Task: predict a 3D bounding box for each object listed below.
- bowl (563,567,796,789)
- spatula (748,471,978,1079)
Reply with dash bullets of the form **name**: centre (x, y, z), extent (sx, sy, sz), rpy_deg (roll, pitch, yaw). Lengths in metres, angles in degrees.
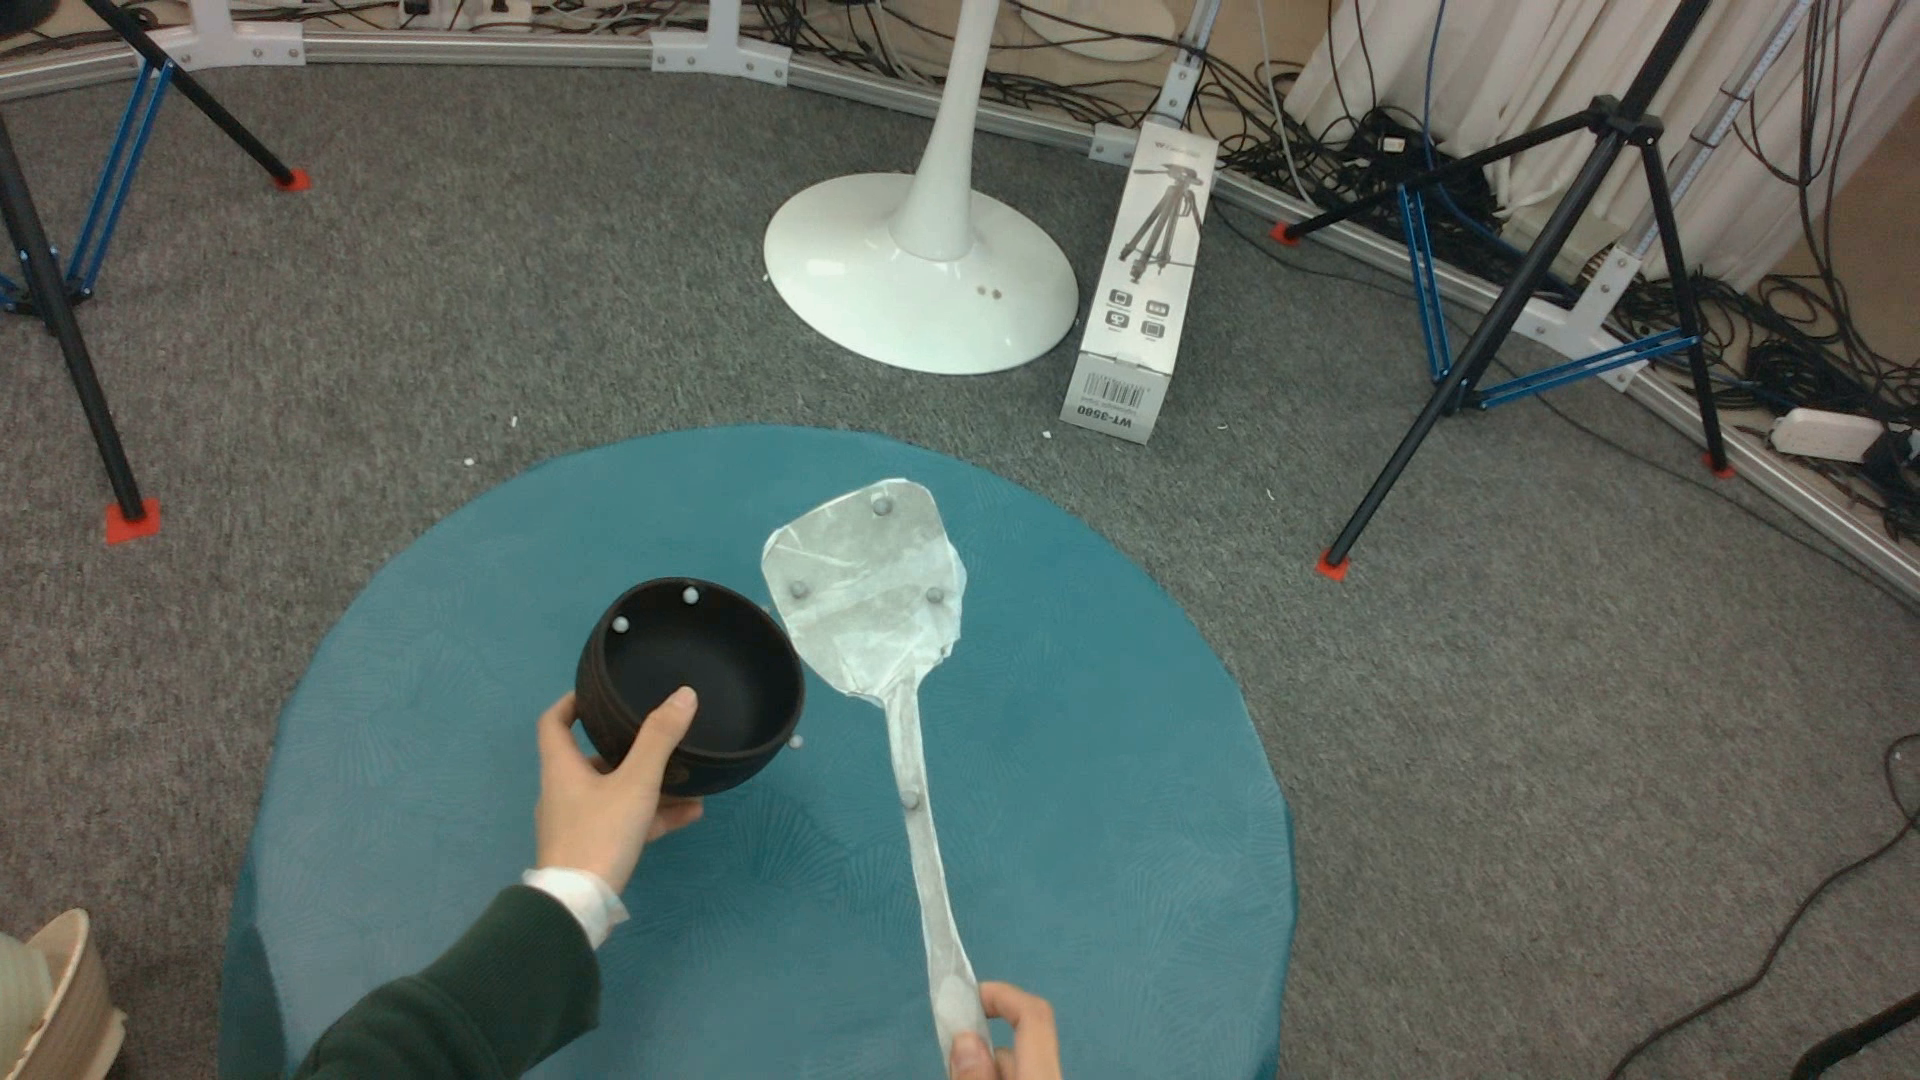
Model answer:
- **bowl**: centre (-0.153, 0.080, 0.732), extent (0.118, 0.069, 0.118), rpy_deg (20, 42, -19)
- **spatula**: centre (-0.025, 0.133, 0.615), extent (0.098, 0.044, 0.366), rpy_deg (-20, 59, 11)
